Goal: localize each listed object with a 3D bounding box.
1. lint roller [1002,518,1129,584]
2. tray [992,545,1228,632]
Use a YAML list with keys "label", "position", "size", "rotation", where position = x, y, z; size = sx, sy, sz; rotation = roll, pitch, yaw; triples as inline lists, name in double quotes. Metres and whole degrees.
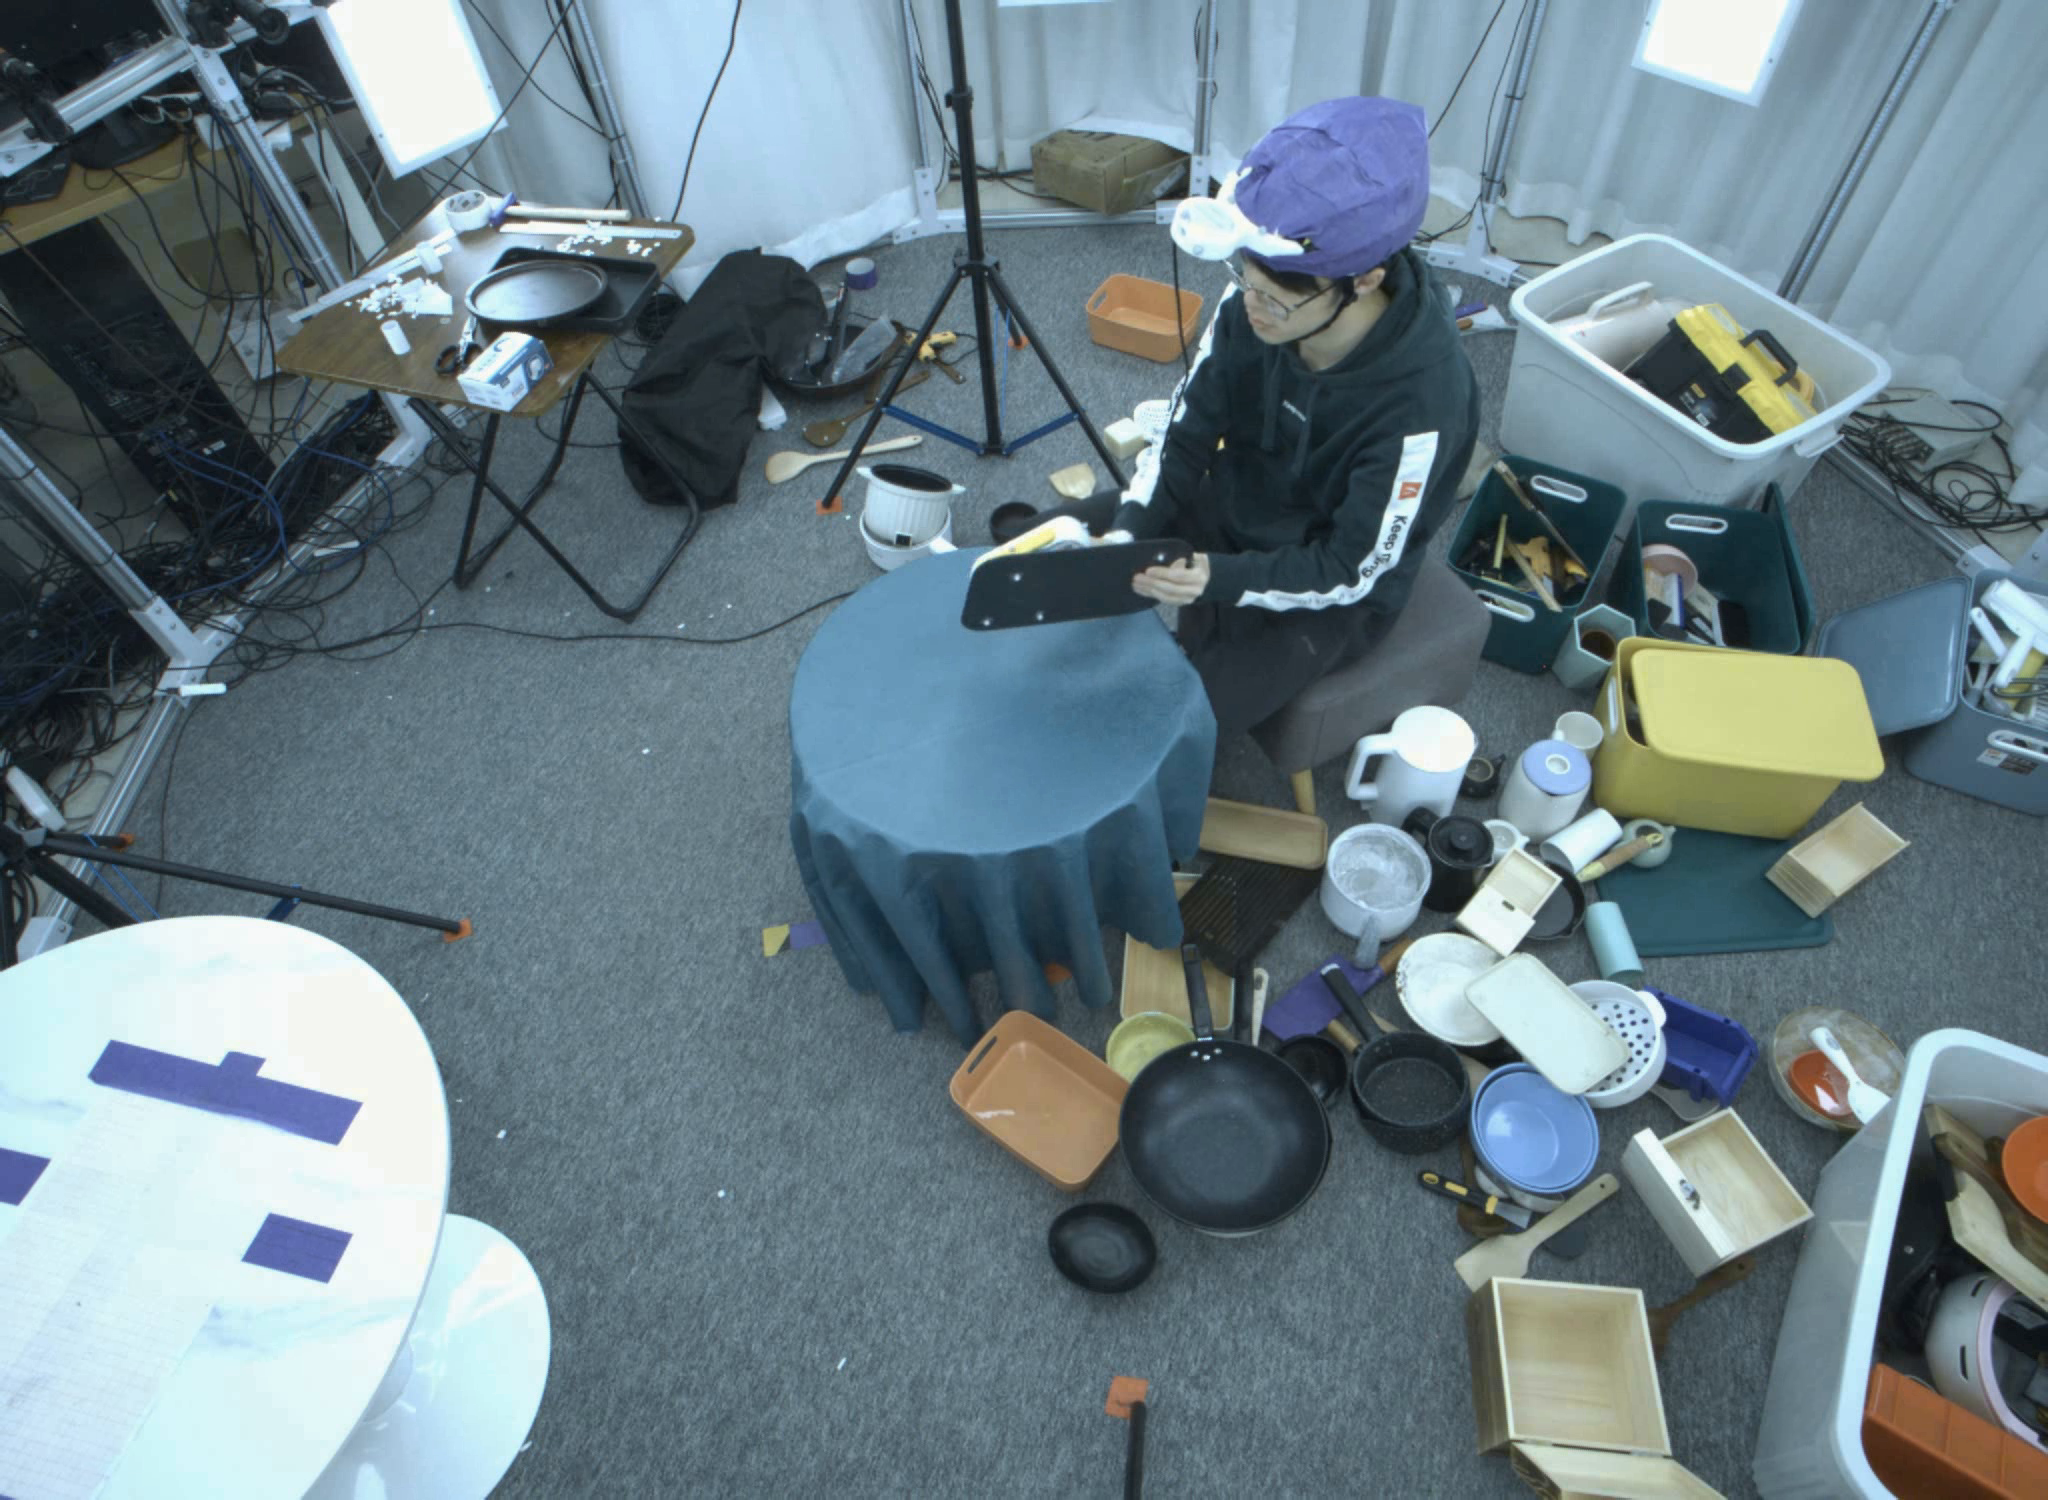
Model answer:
- label: "lint roller"
  position: [0.087, -0.260, 1.787]
  size: [0.190, 0.197, 0.073]
  rotation: [-23, 64, 28]
- label: "tray"
  position: [0.122, -0.220, 1.694]
  size: [0.329, 0.211, 0.010]
  rotation: [-7, 69, -14]
